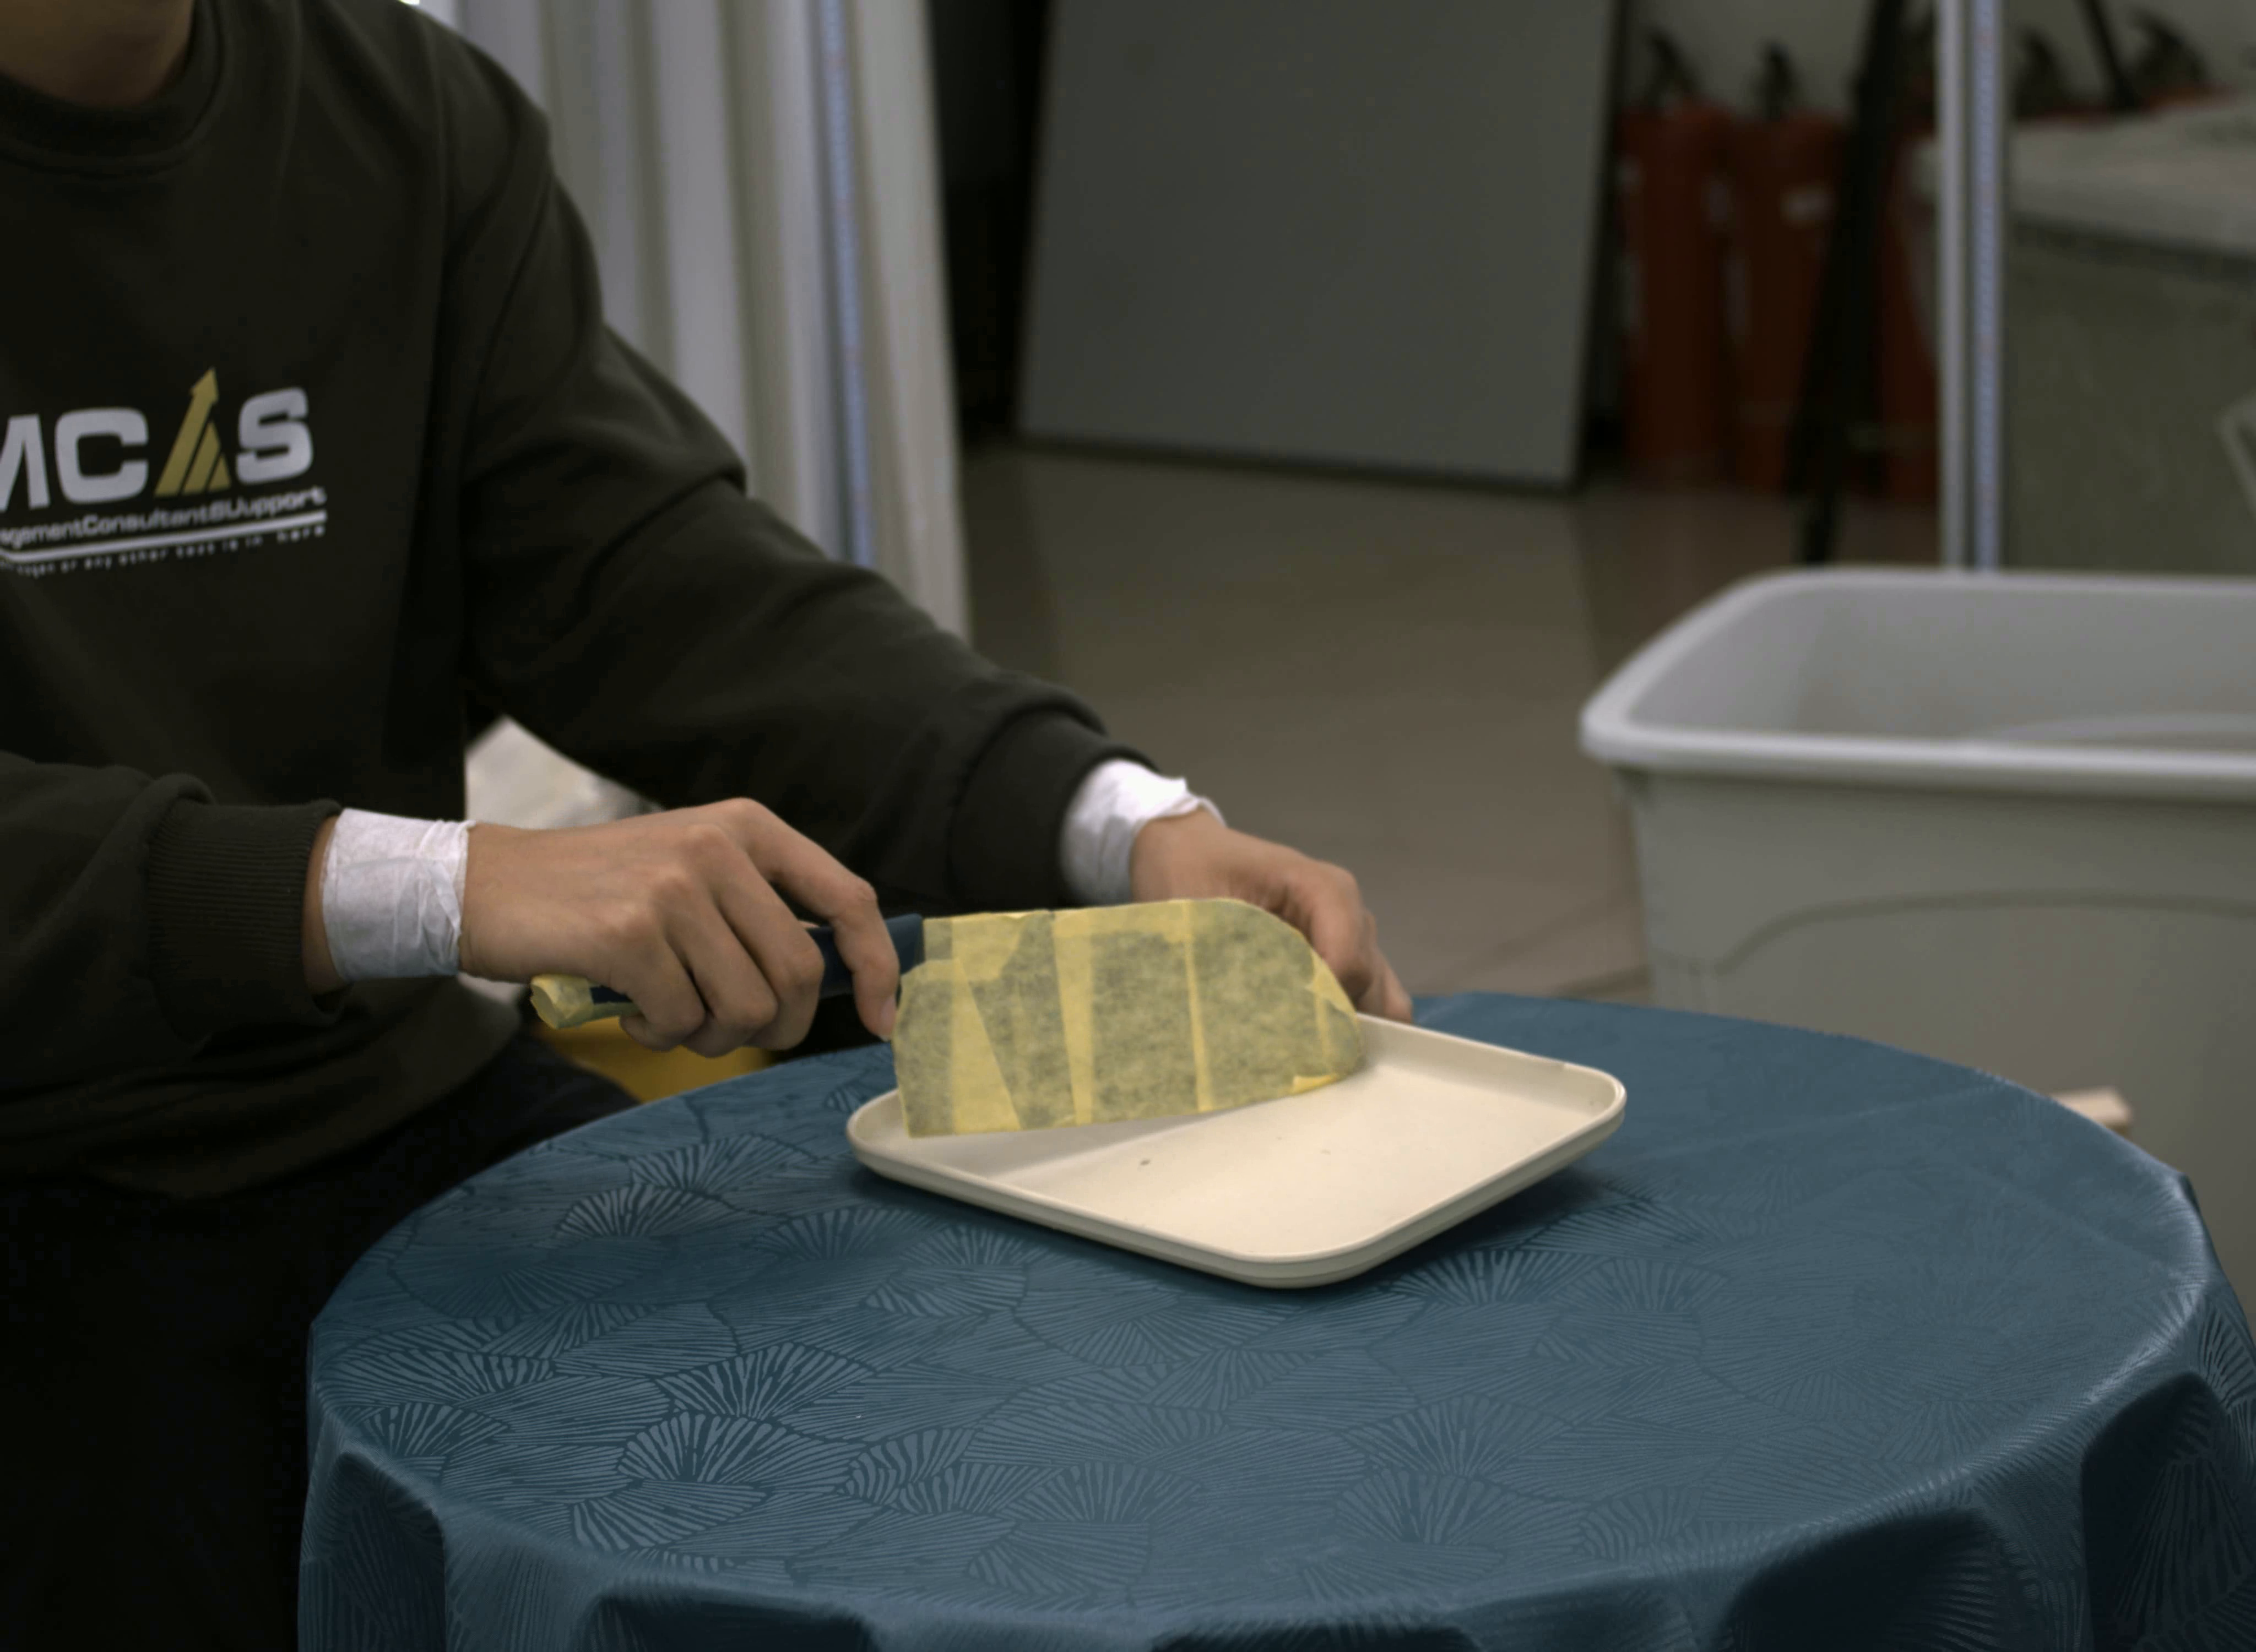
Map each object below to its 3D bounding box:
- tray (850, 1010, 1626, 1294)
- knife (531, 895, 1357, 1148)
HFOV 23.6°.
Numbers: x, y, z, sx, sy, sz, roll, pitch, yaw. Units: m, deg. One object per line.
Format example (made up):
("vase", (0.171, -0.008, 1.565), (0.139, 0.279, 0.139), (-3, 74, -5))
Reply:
("tray", (0.035, 0.101, 1.777), (0.168, 0.017, 0.242), (-24, 23, -37))
("knife", (-0.056, 0.065, 1.781), (0.283, 0.082, 0.027), (-1, -9, -18))
